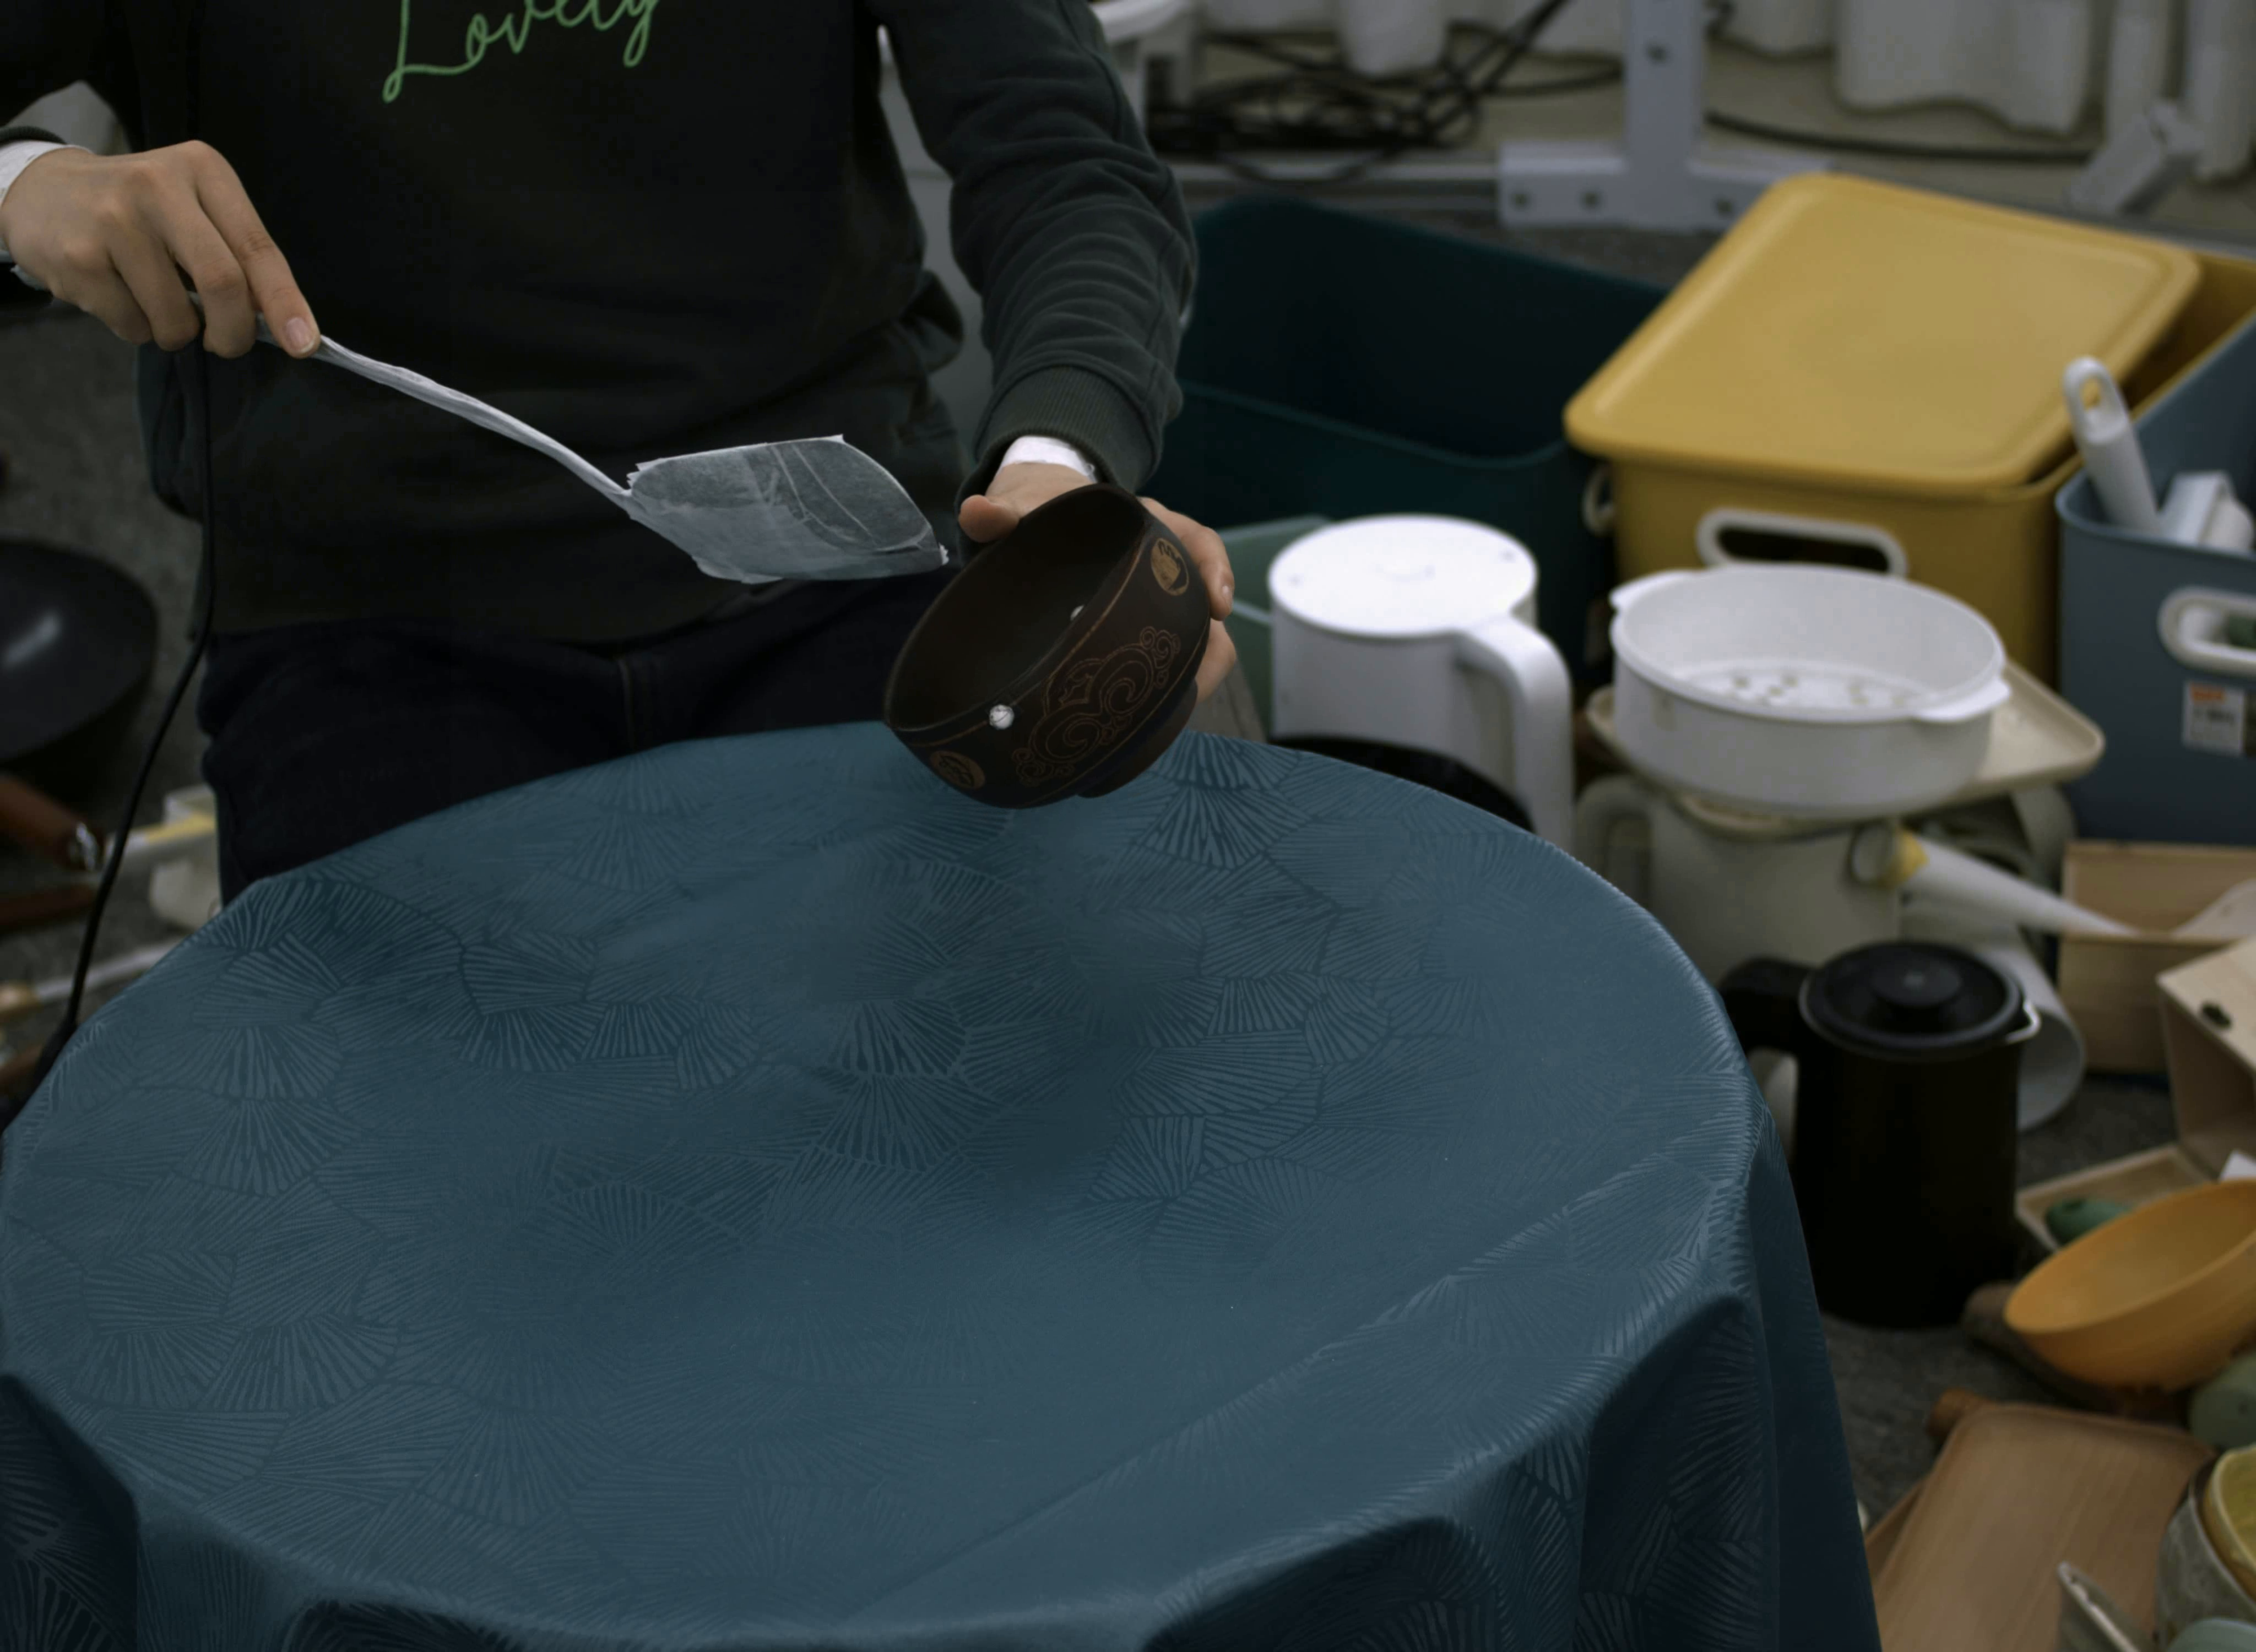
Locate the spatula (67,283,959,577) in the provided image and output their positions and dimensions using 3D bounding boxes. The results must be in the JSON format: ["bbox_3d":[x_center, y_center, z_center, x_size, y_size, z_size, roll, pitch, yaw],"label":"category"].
[{"bbox_3d":[-0.223,-0.146,1.933,0.364,0.098,0.045,21,75,27],"label":"spatula"}]

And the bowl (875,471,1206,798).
[{"bbox_3d":[-0.022,-0.057,1.925,0.117,0.069,0.120,-35,22,17],"label":"bowl"}]
